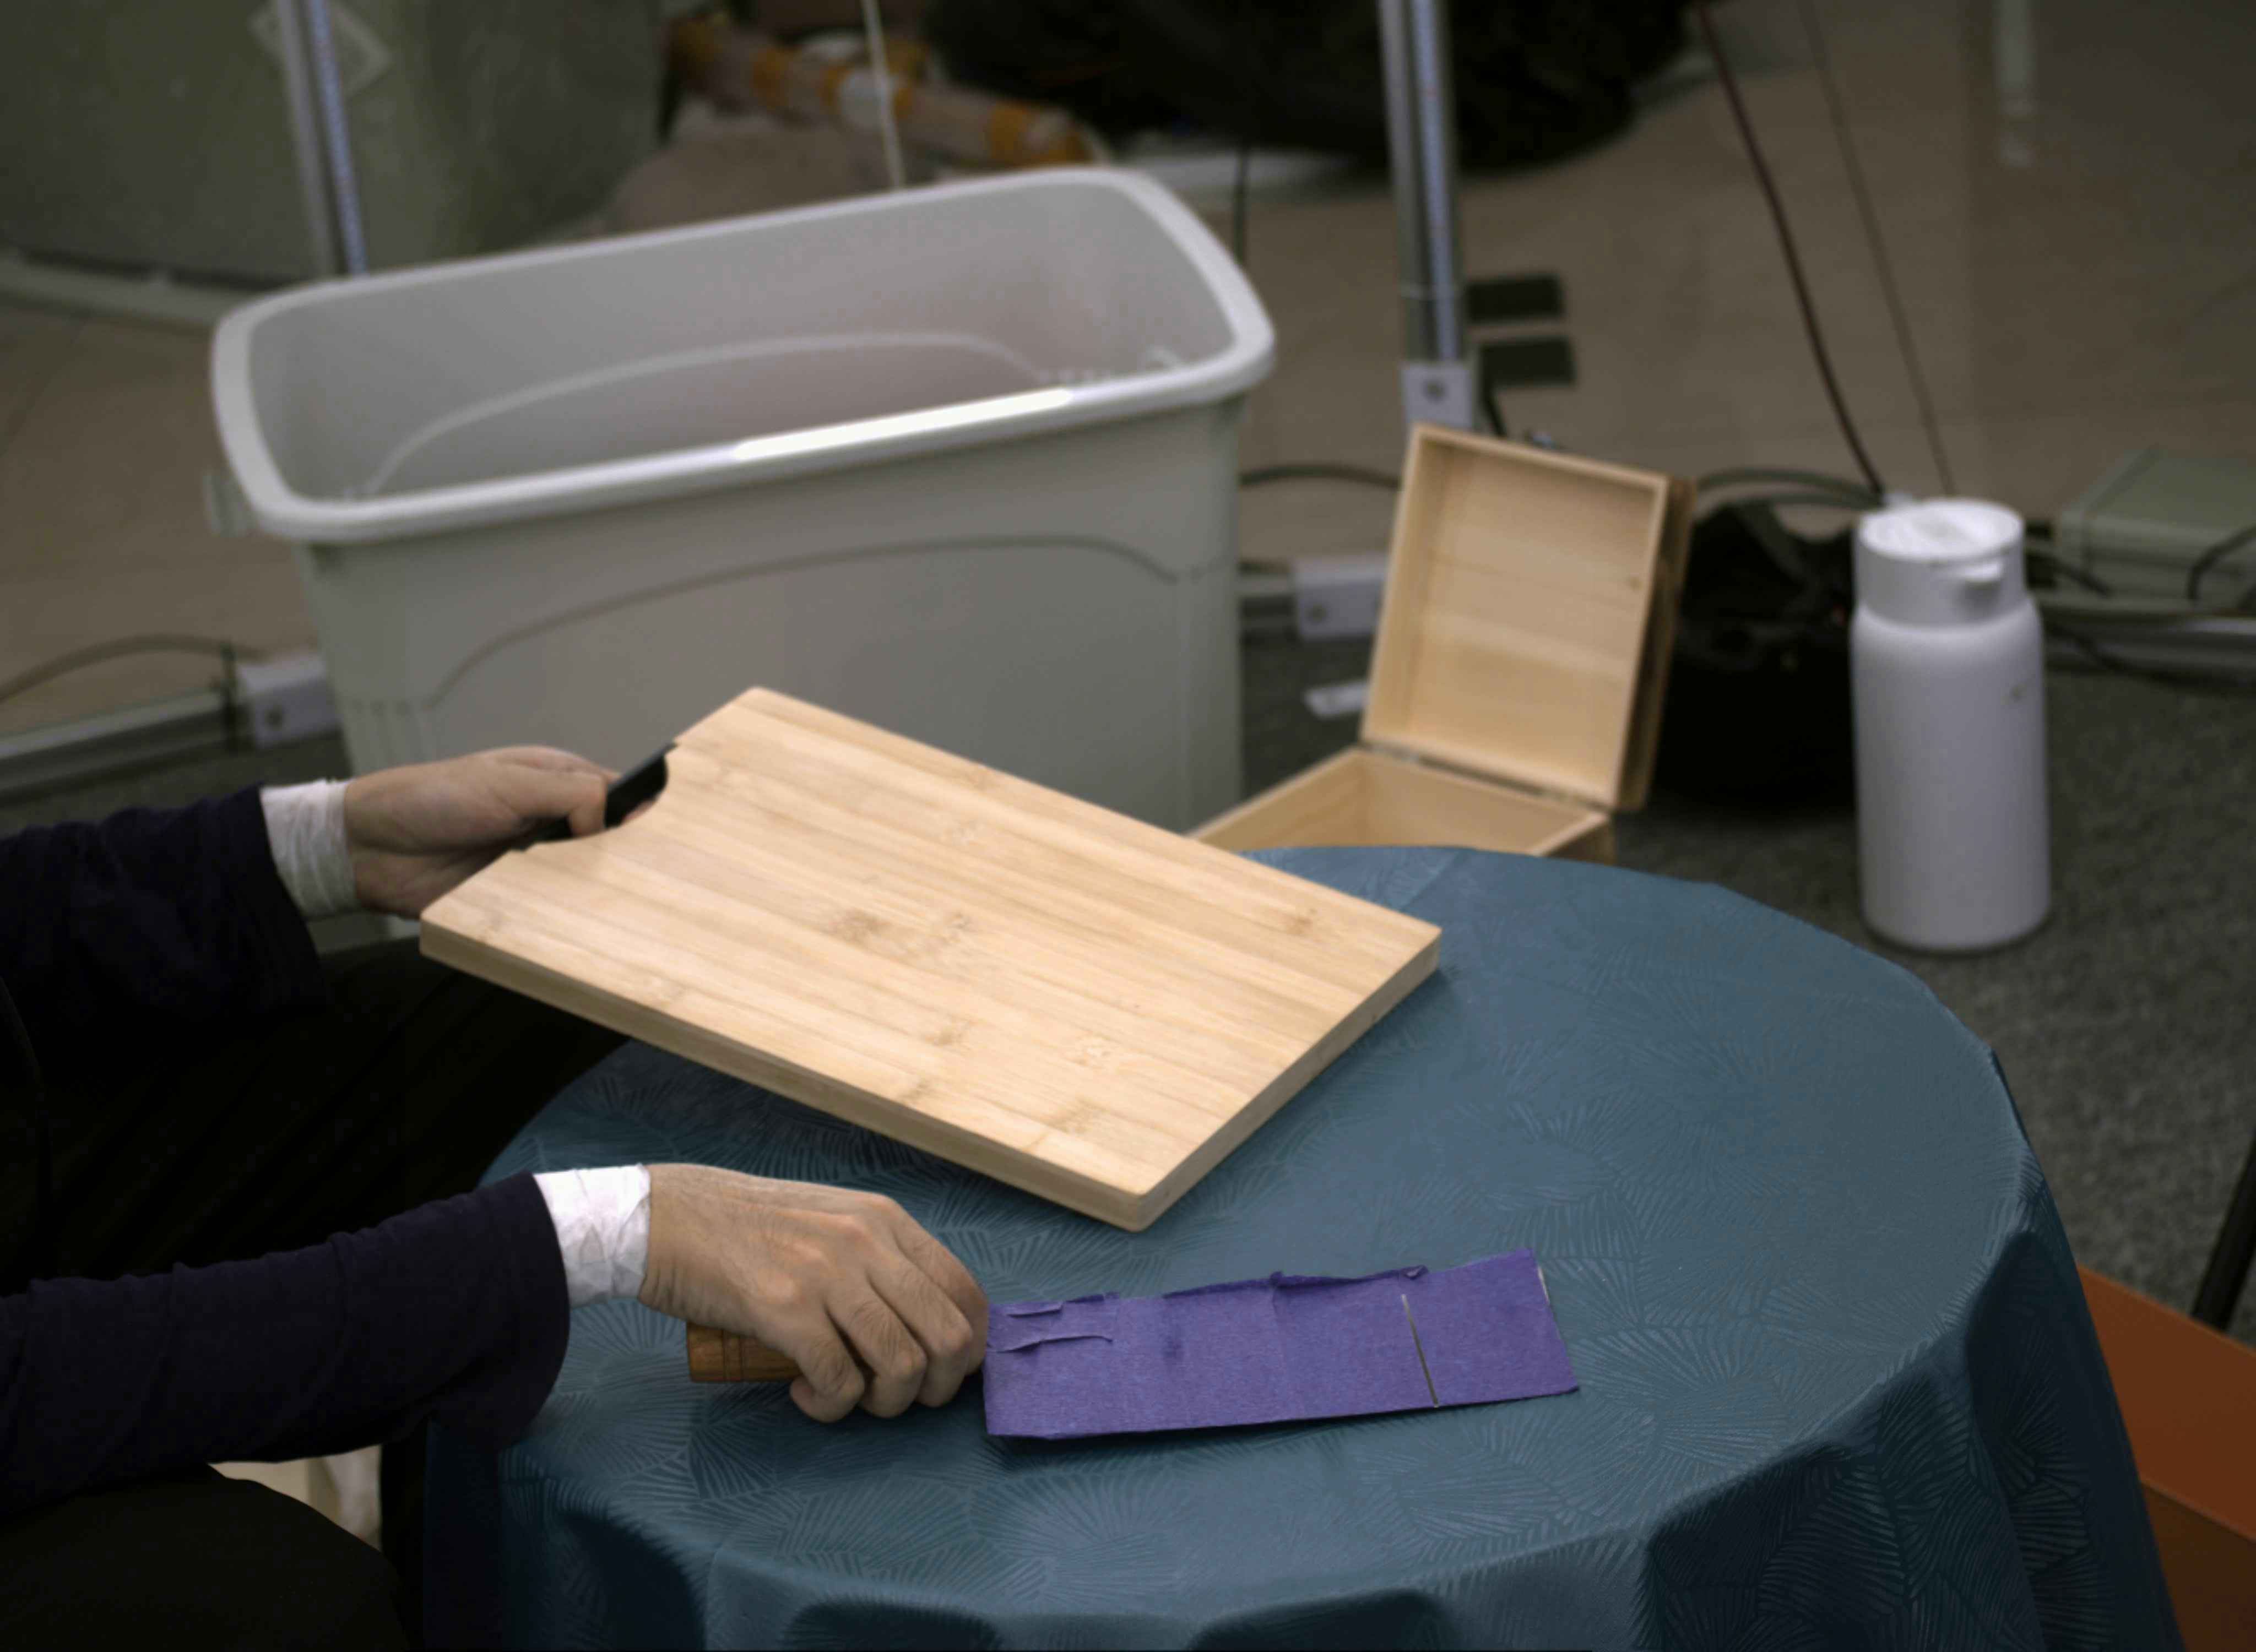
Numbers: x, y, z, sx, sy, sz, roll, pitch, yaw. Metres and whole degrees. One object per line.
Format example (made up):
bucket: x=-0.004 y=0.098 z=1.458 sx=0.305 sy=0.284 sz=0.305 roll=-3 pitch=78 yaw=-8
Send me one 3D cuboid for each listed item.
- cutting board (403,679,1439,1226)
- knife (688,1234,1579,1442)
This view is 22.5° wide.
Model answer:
cutting board: x=-0.082 y=0.045 z=2.278 sx=0.346 sy=0.024 sz=0.248 roll=19 pitch=34 yaw=24
knife: x=0.000 y=0.186 z=2.018 sx=0.315 sy=0.033 sz=0.102 roll=-7 pitch=26 yaw=-2
